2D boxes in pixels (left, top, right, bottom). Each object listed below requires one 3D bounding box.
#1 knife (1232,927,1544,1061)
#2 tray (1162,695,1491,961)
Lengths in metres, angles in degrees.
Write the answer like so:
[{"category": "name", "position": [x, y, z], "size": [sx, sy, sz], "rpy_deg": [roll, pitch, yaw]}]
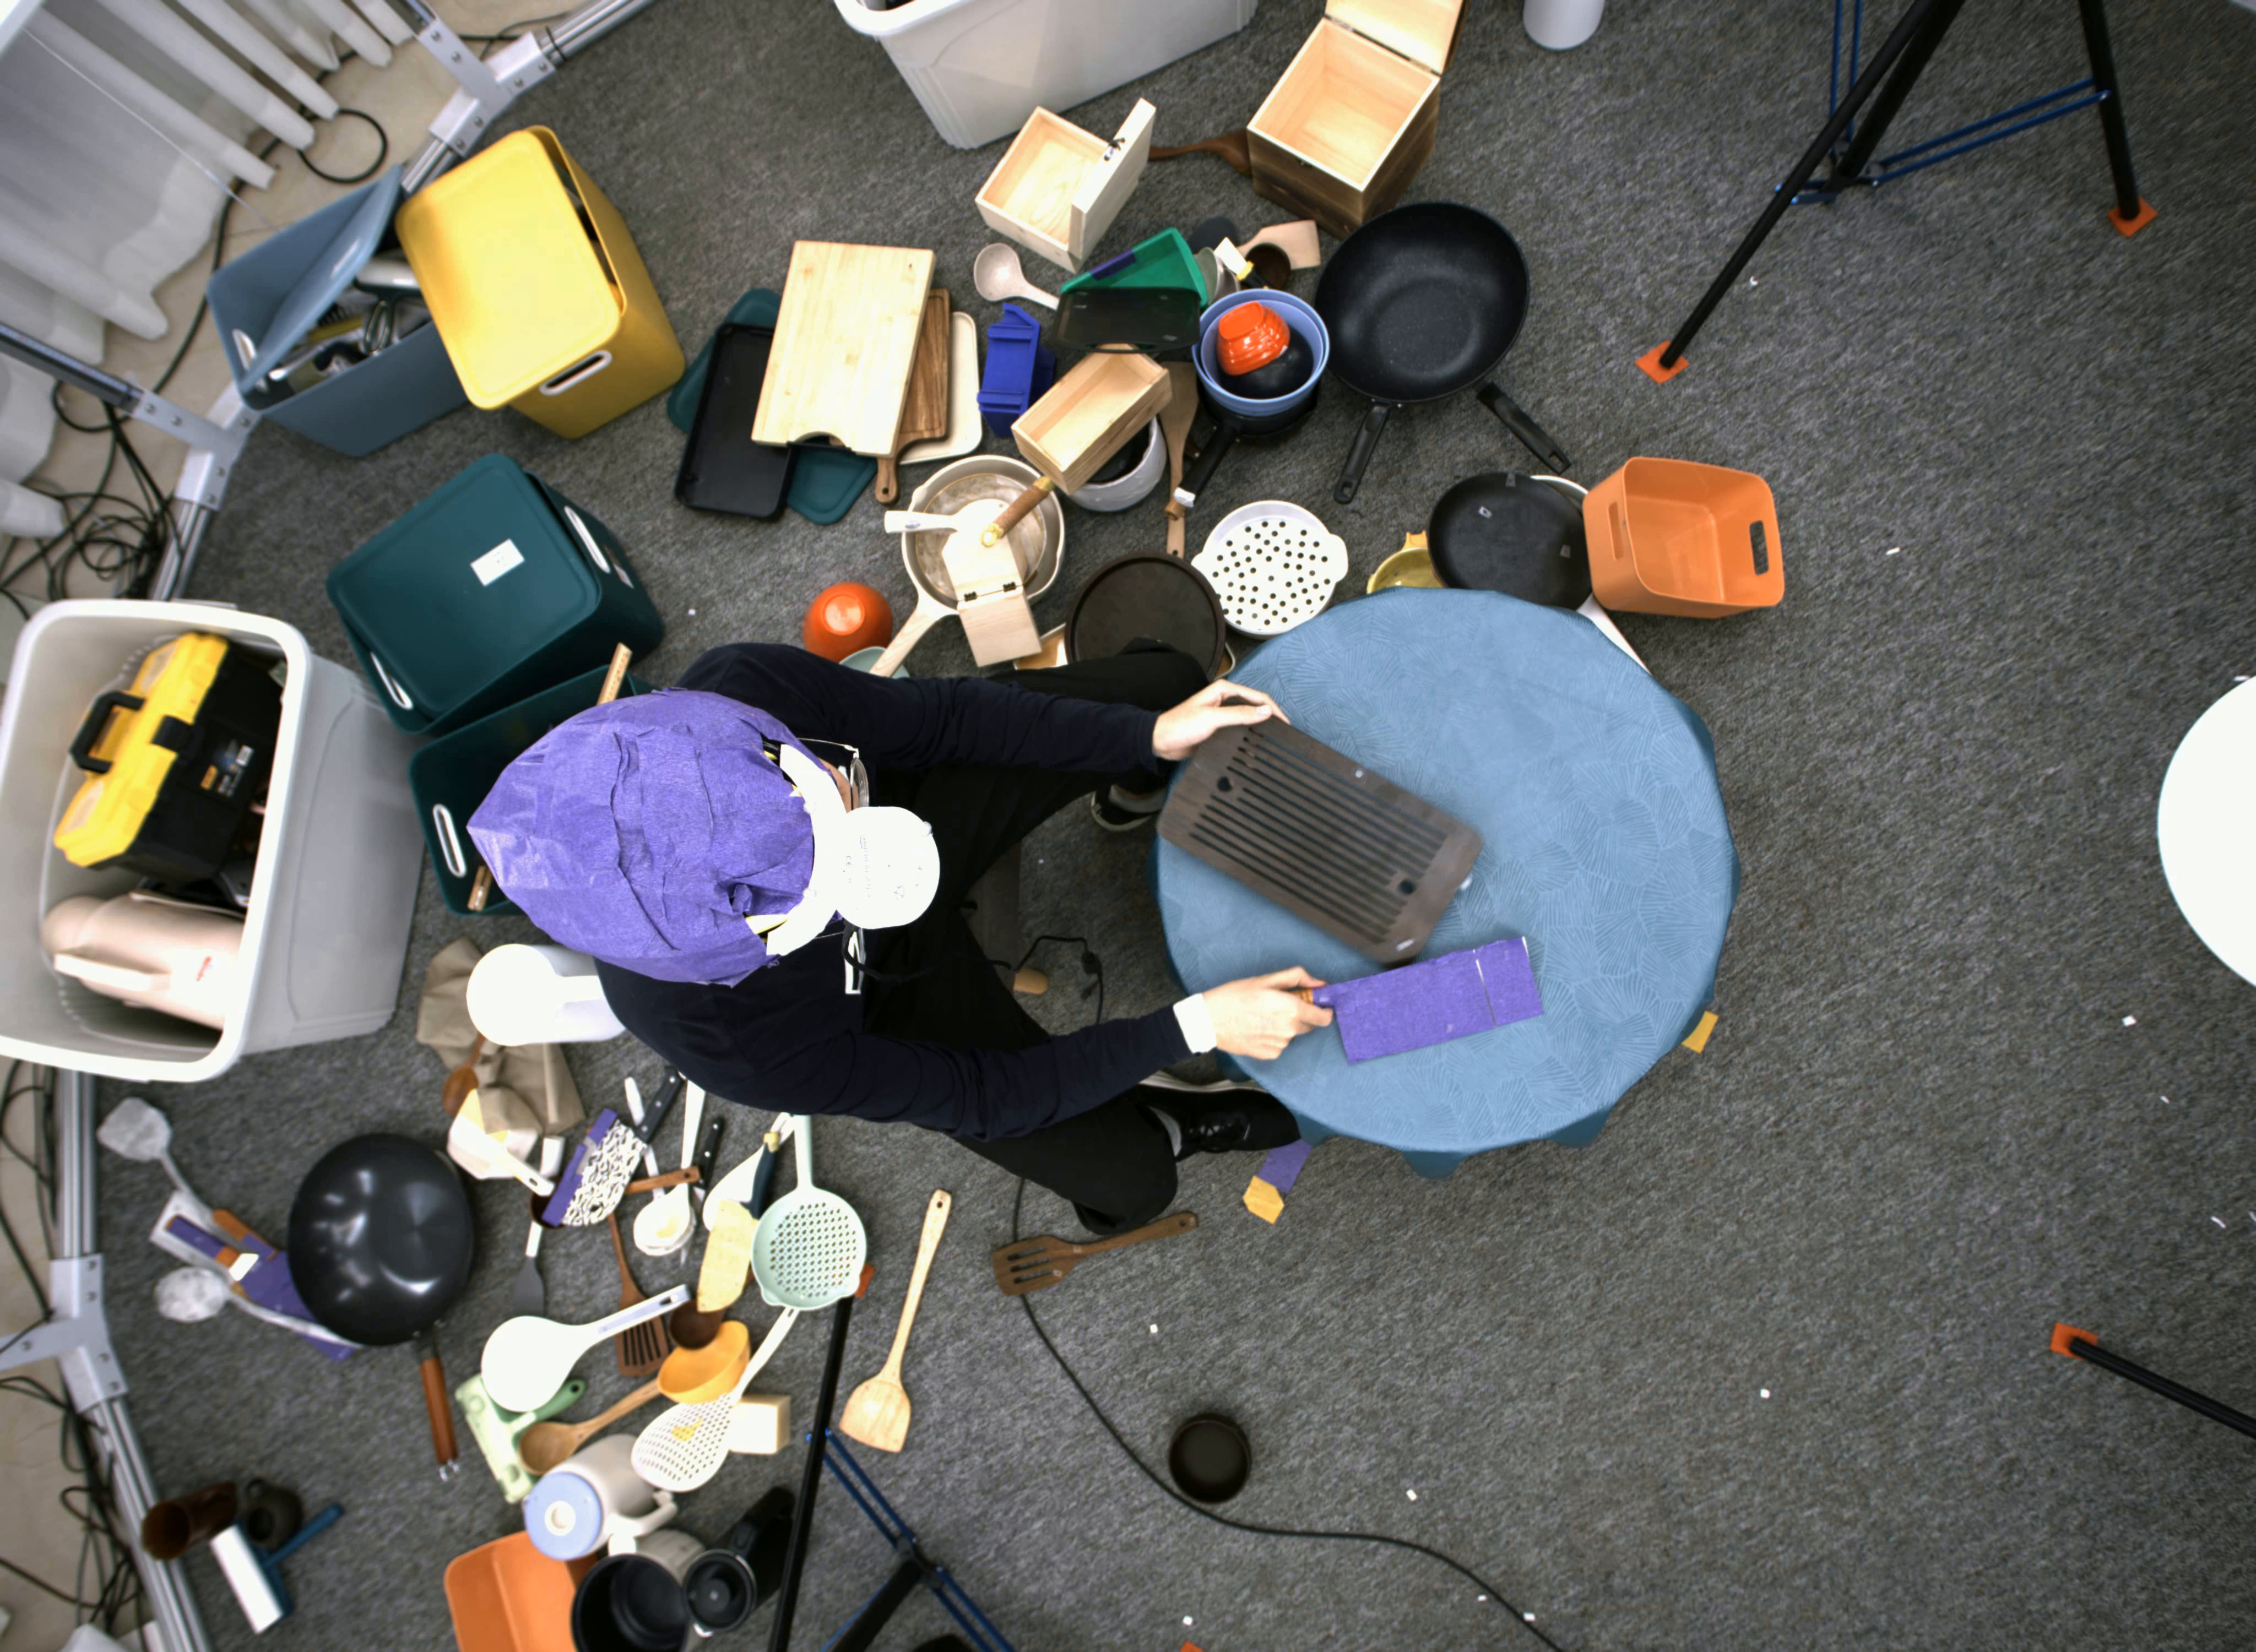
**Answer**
[{"category": "knife", "position": [0.269, 0.190, 1.428], "size": [0.317, 0.032, 0.105], "rpy_deg": [-16, 102, 10]}, {"category": "tray", "position": [0.203, 0.001, 1.433], "size": [0.306, 0.018, 0.172], "rpy_deg": [27, 105, 4]}]
